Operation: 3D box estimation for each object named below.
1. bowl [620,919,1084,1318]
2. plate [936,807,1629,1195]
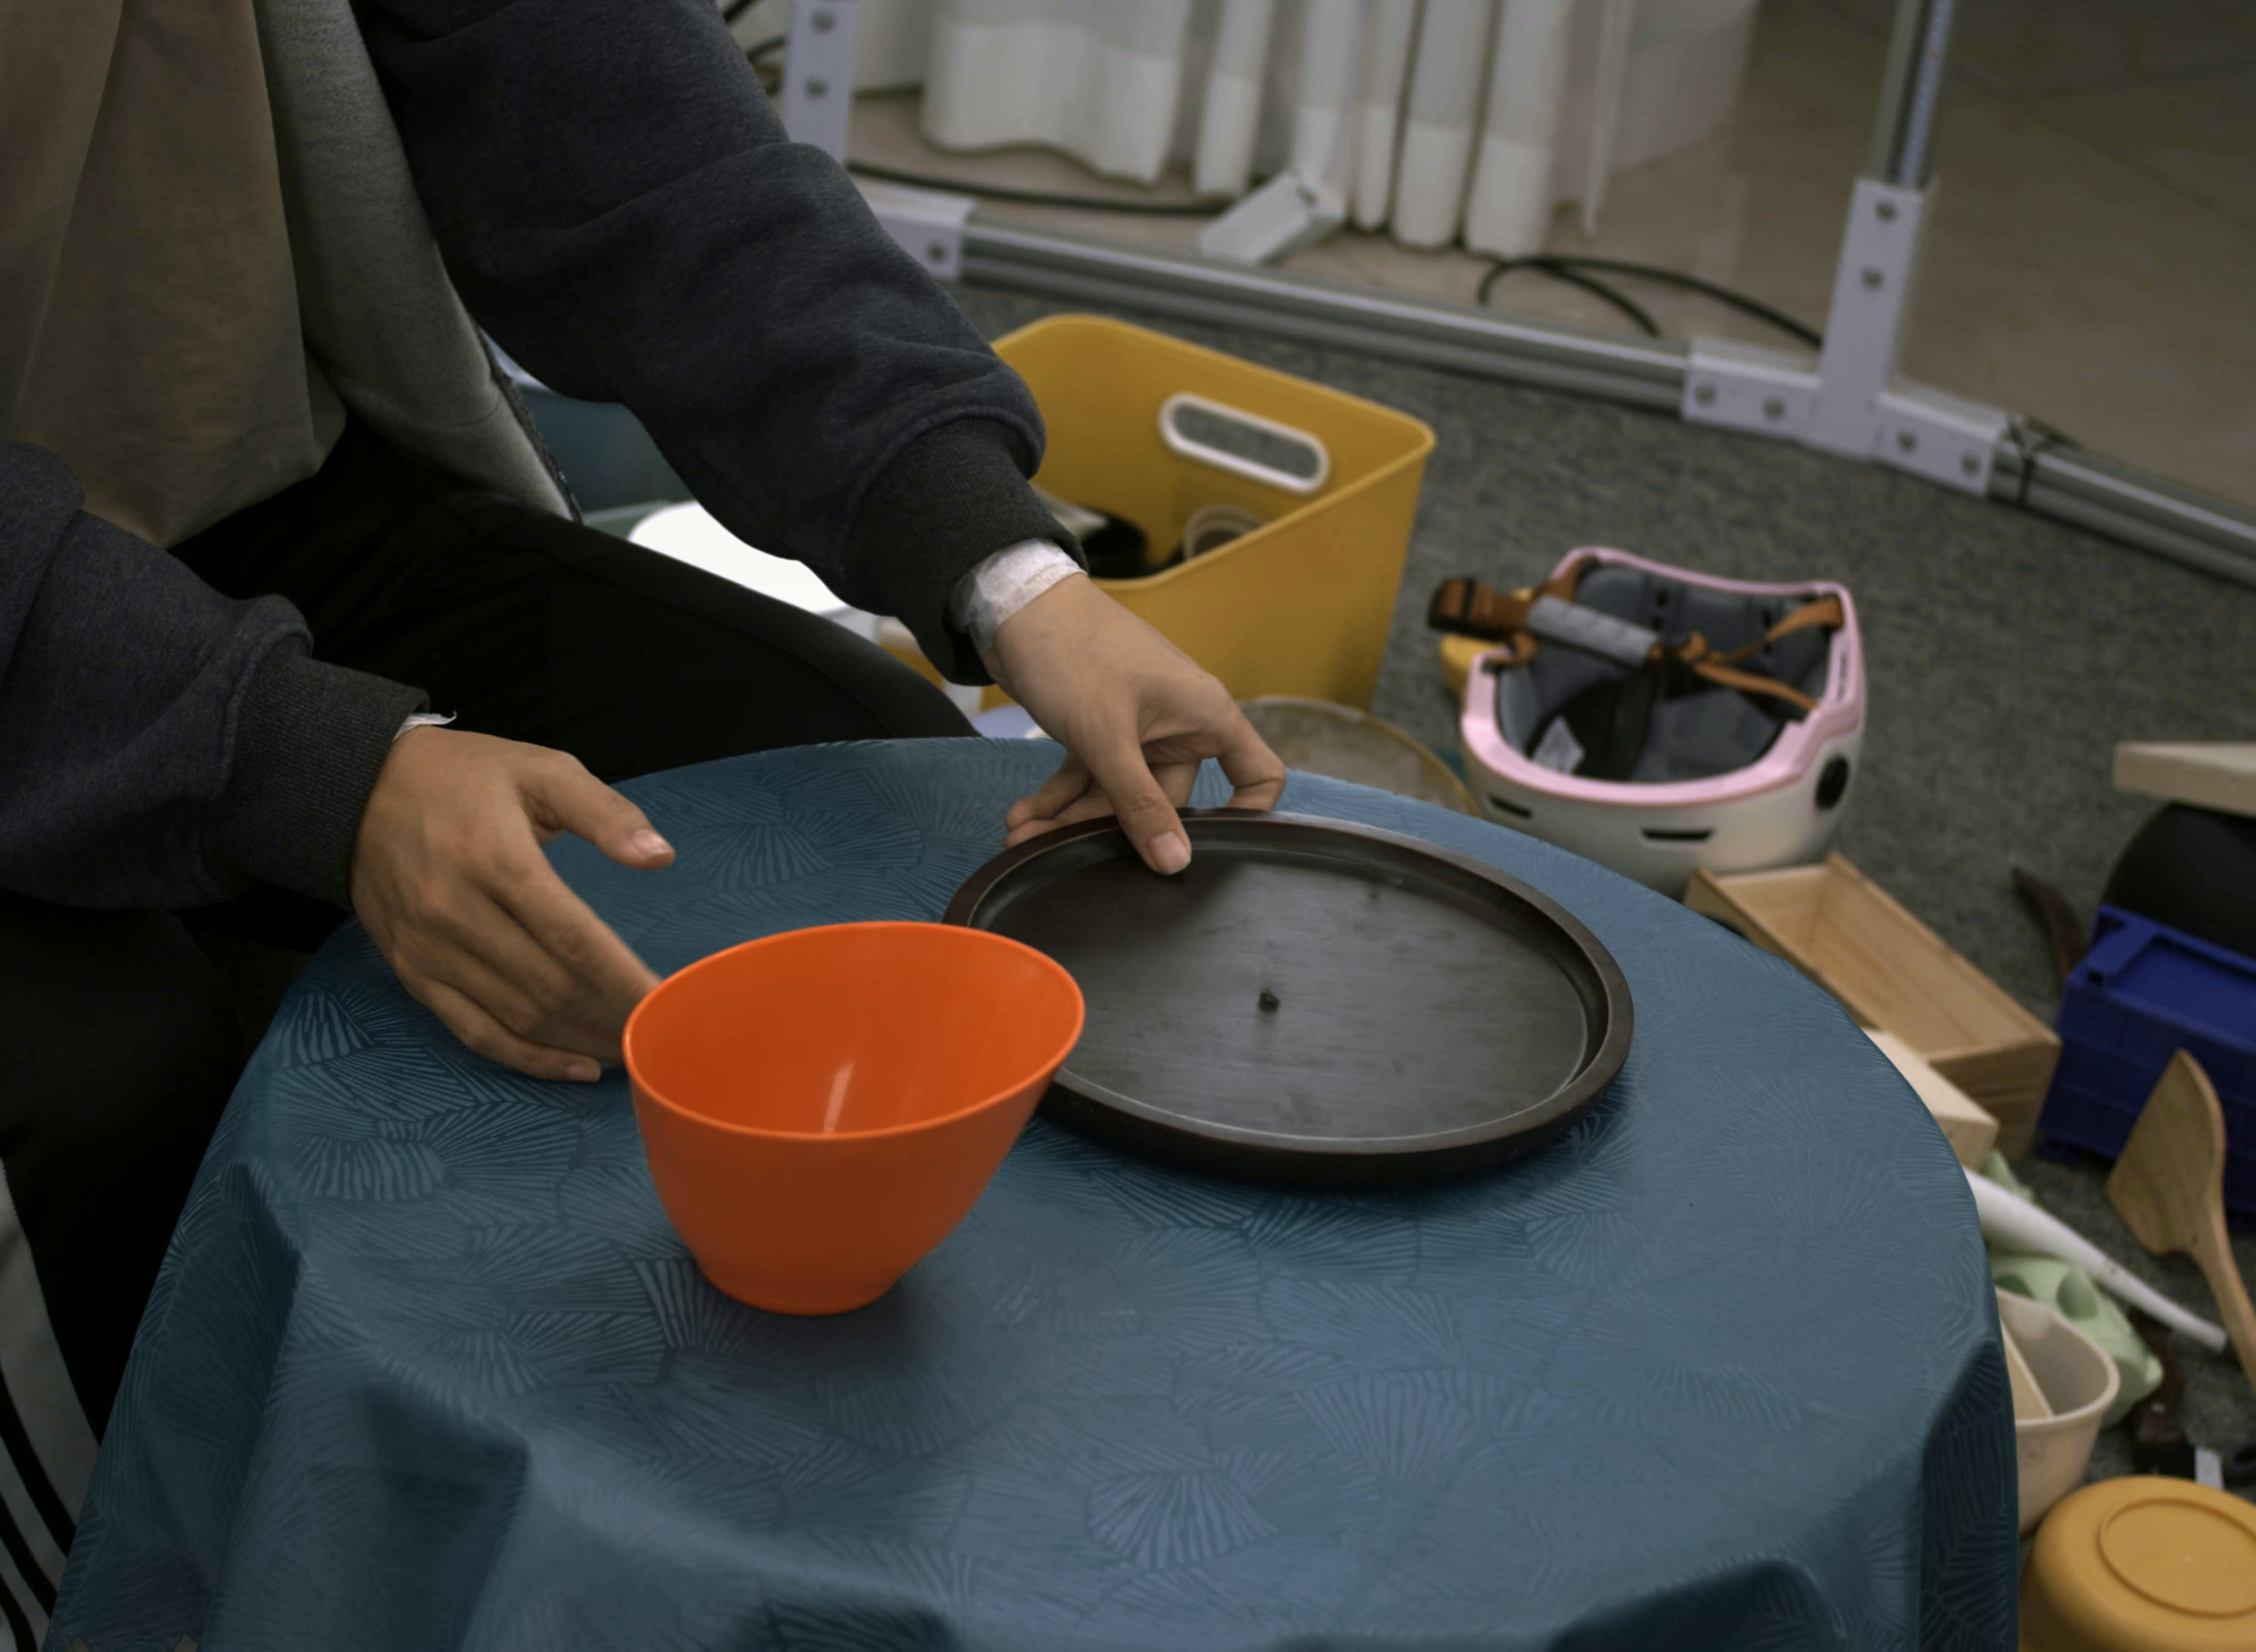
[{"bbox_3d":[-0.093,0.100,1.715,0.147,0.104,0.149,5,28,-3],"label":"bowl"},{"bbox_3d":[0.055,0.061,1.912,0.254,0.029,0.256,4,28,-3],"label":"plate"}]
